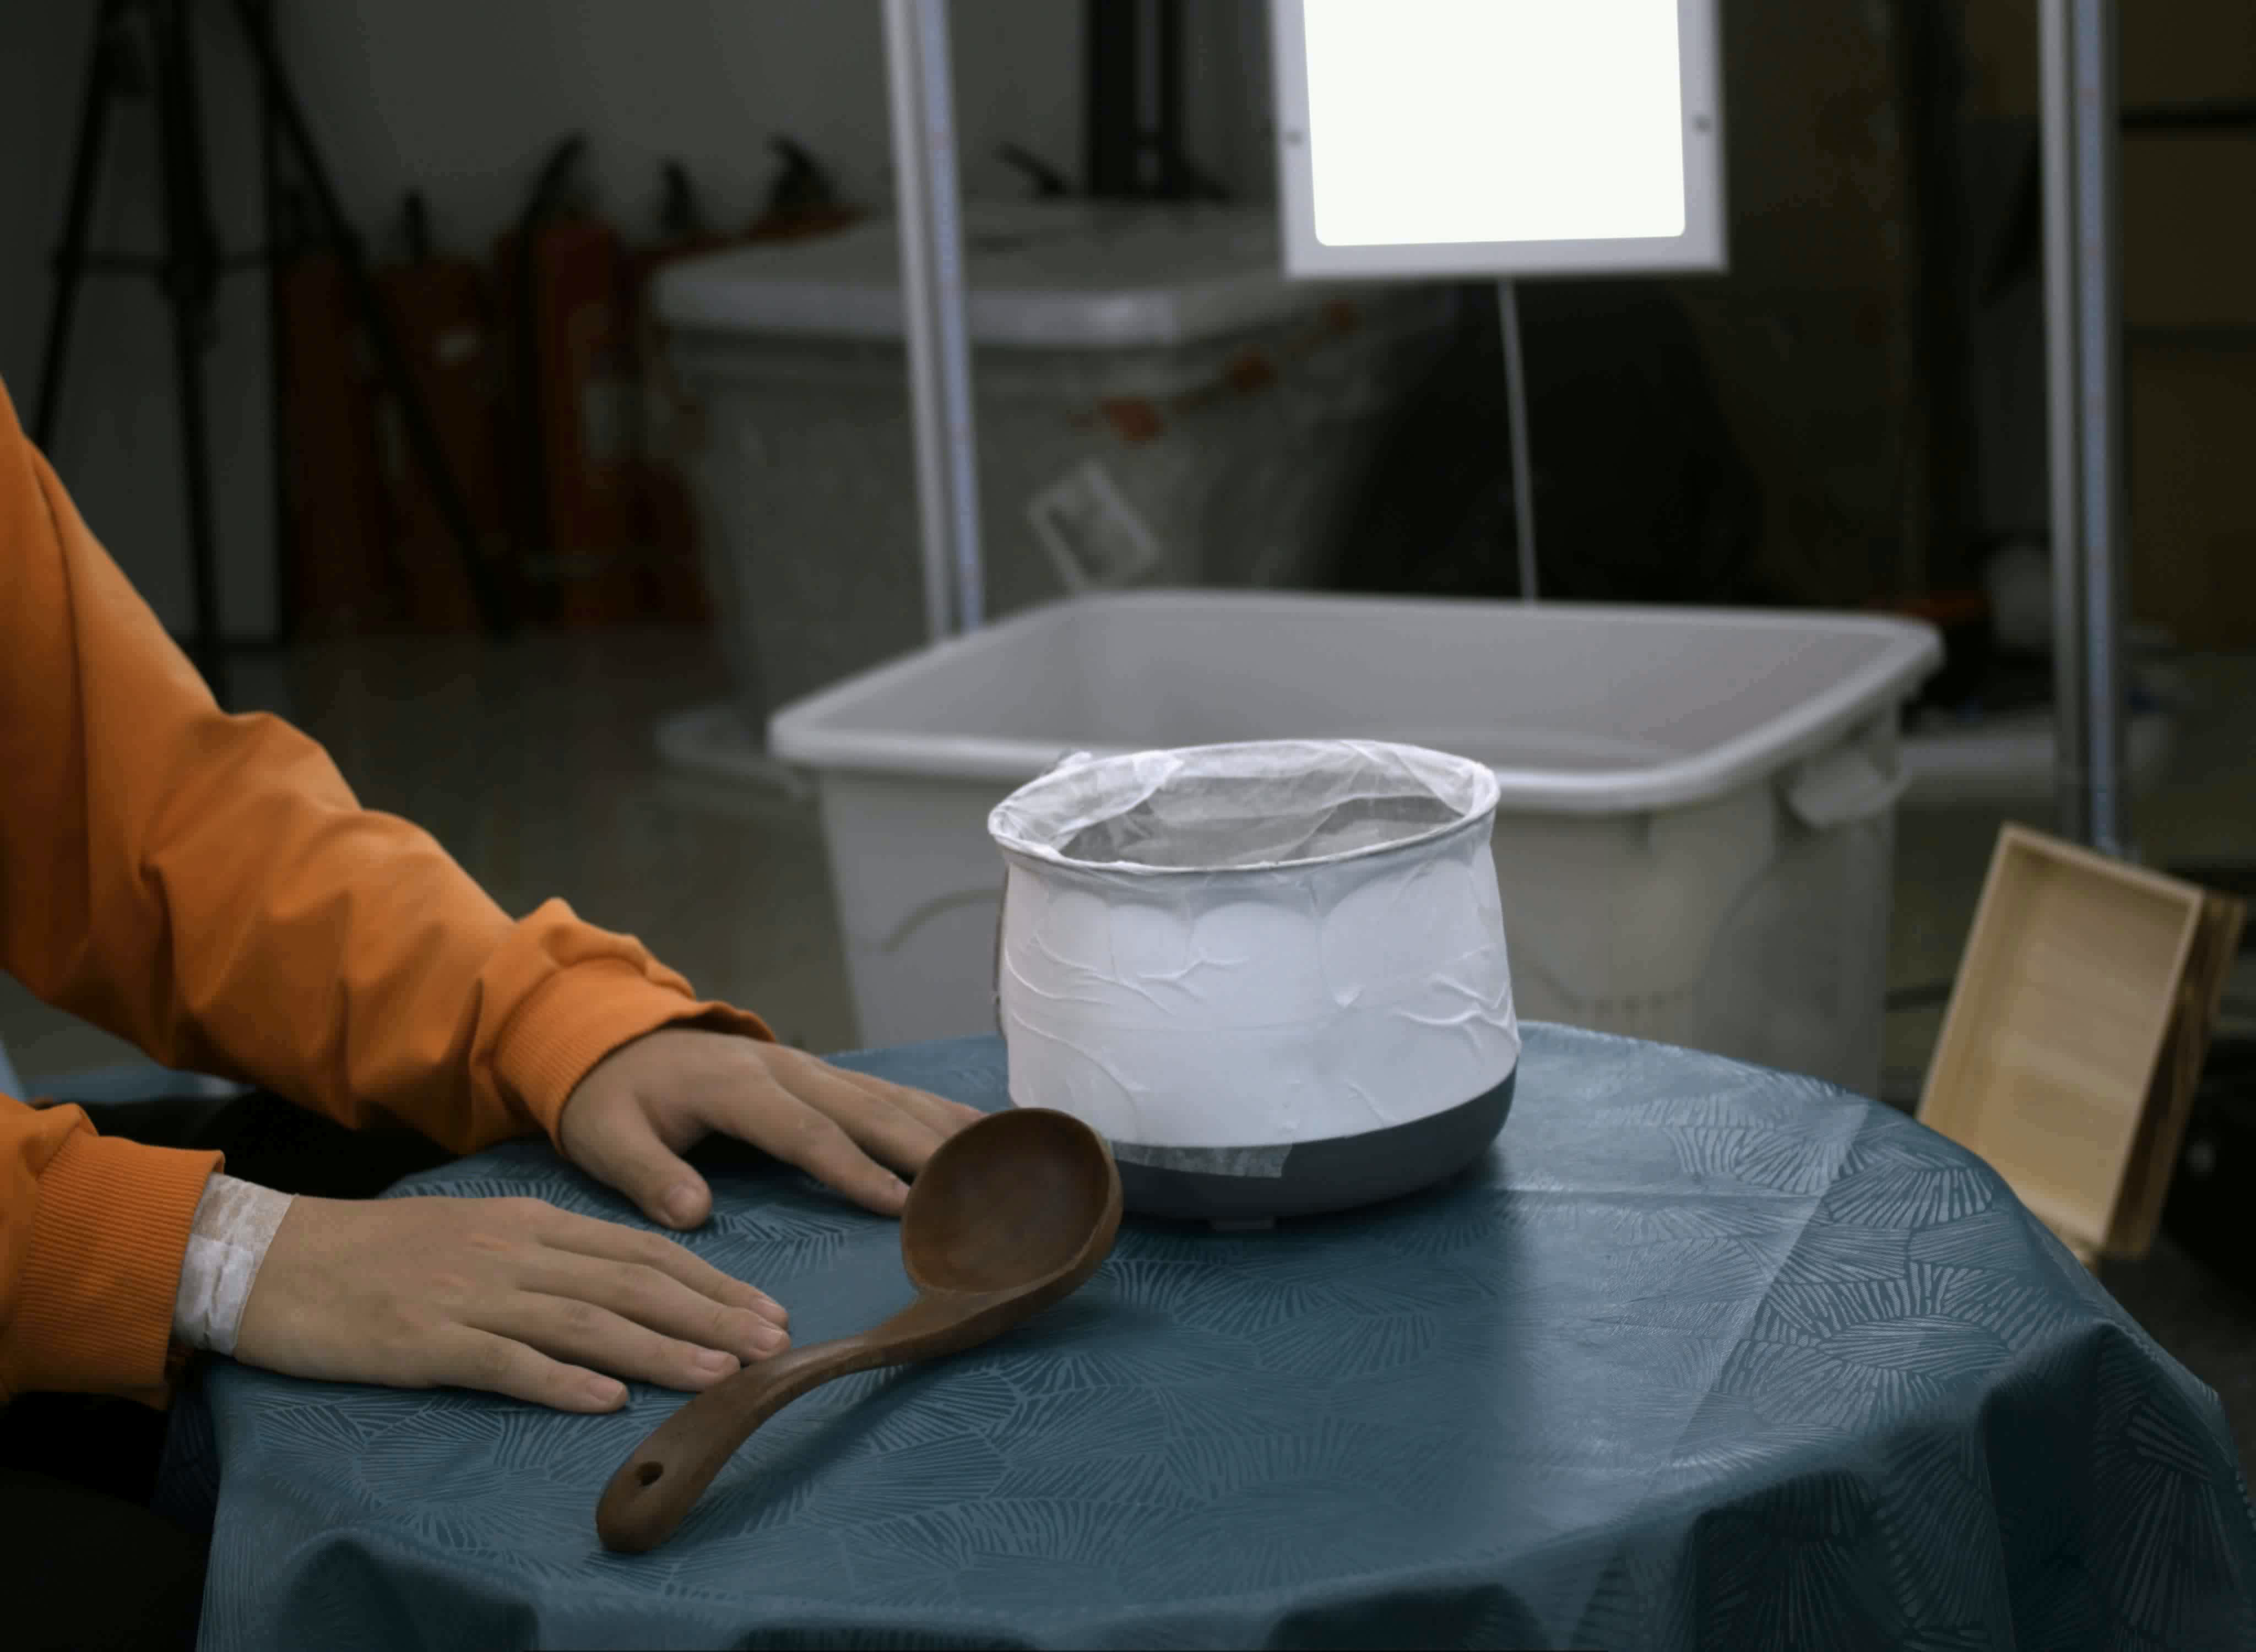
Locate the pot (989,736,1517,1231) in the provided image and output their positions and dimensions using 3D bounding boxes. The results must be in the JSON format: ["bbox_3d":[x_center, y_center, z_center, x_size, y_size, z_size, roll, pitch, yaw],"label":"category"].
[{"bbox_3d":[0.028,0.048,1.915,0.174,0.137,0.238,-14,17,-35],"label":"pot"}]

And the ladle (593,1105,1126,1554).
[{"bbox_3d":[-0.086,0.150,1.698,0.078,0.065,0.254,1,15,33],"label":"ladle"}]
